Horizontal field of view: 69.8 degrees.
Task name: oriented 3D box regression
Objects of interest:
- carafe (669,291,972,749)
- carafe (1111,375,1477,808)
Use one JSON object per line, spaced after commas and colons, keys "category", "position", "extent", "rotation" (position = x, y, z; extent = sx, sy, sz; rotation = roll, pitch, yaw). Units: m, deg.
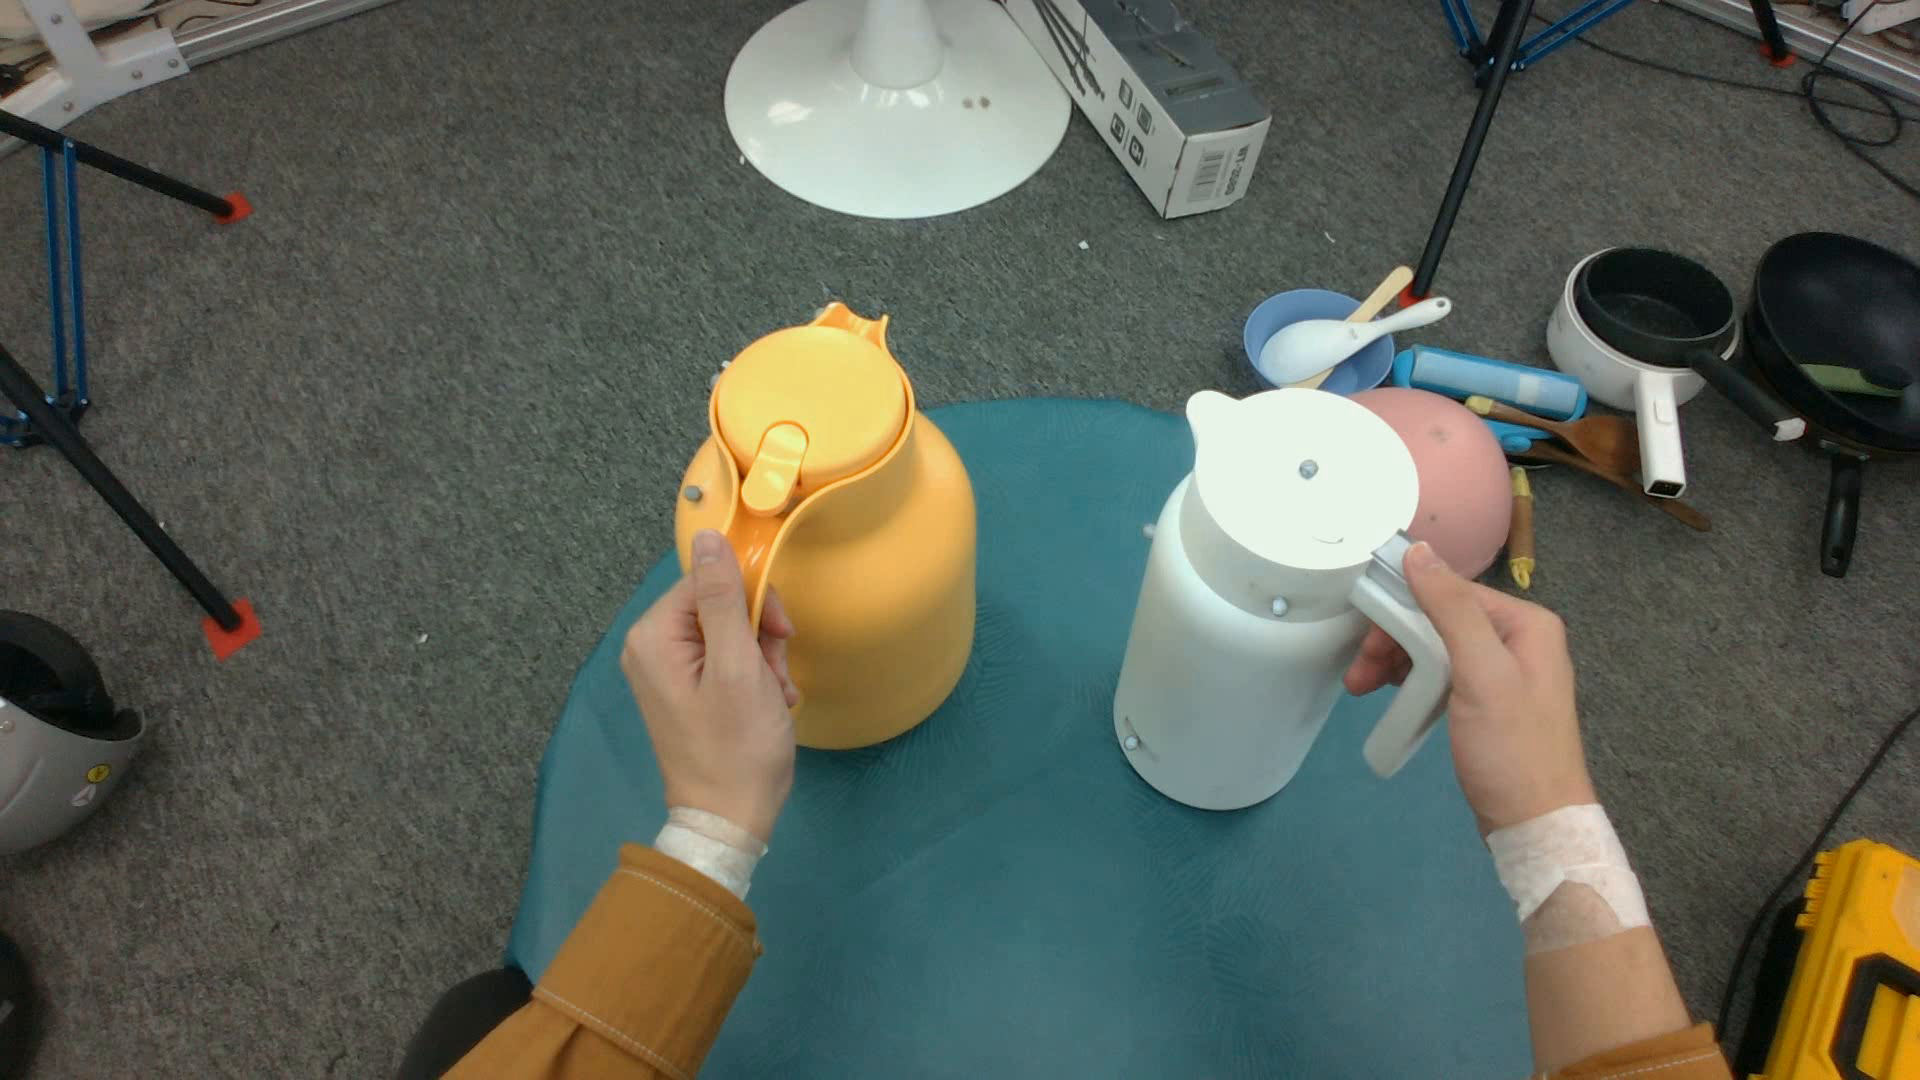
{"category": "carafe", "position": [-0.082, 0.009, 0.734], "extent": [0.163, 0.259, 0.203], "rotation": [16, 57, 12]}
{"category": "carafe", "position": [0.162, 0.048, 0.714], "extent": [0.124, 0.267, 0.173], "rotation": [-35, 64, -23]}
